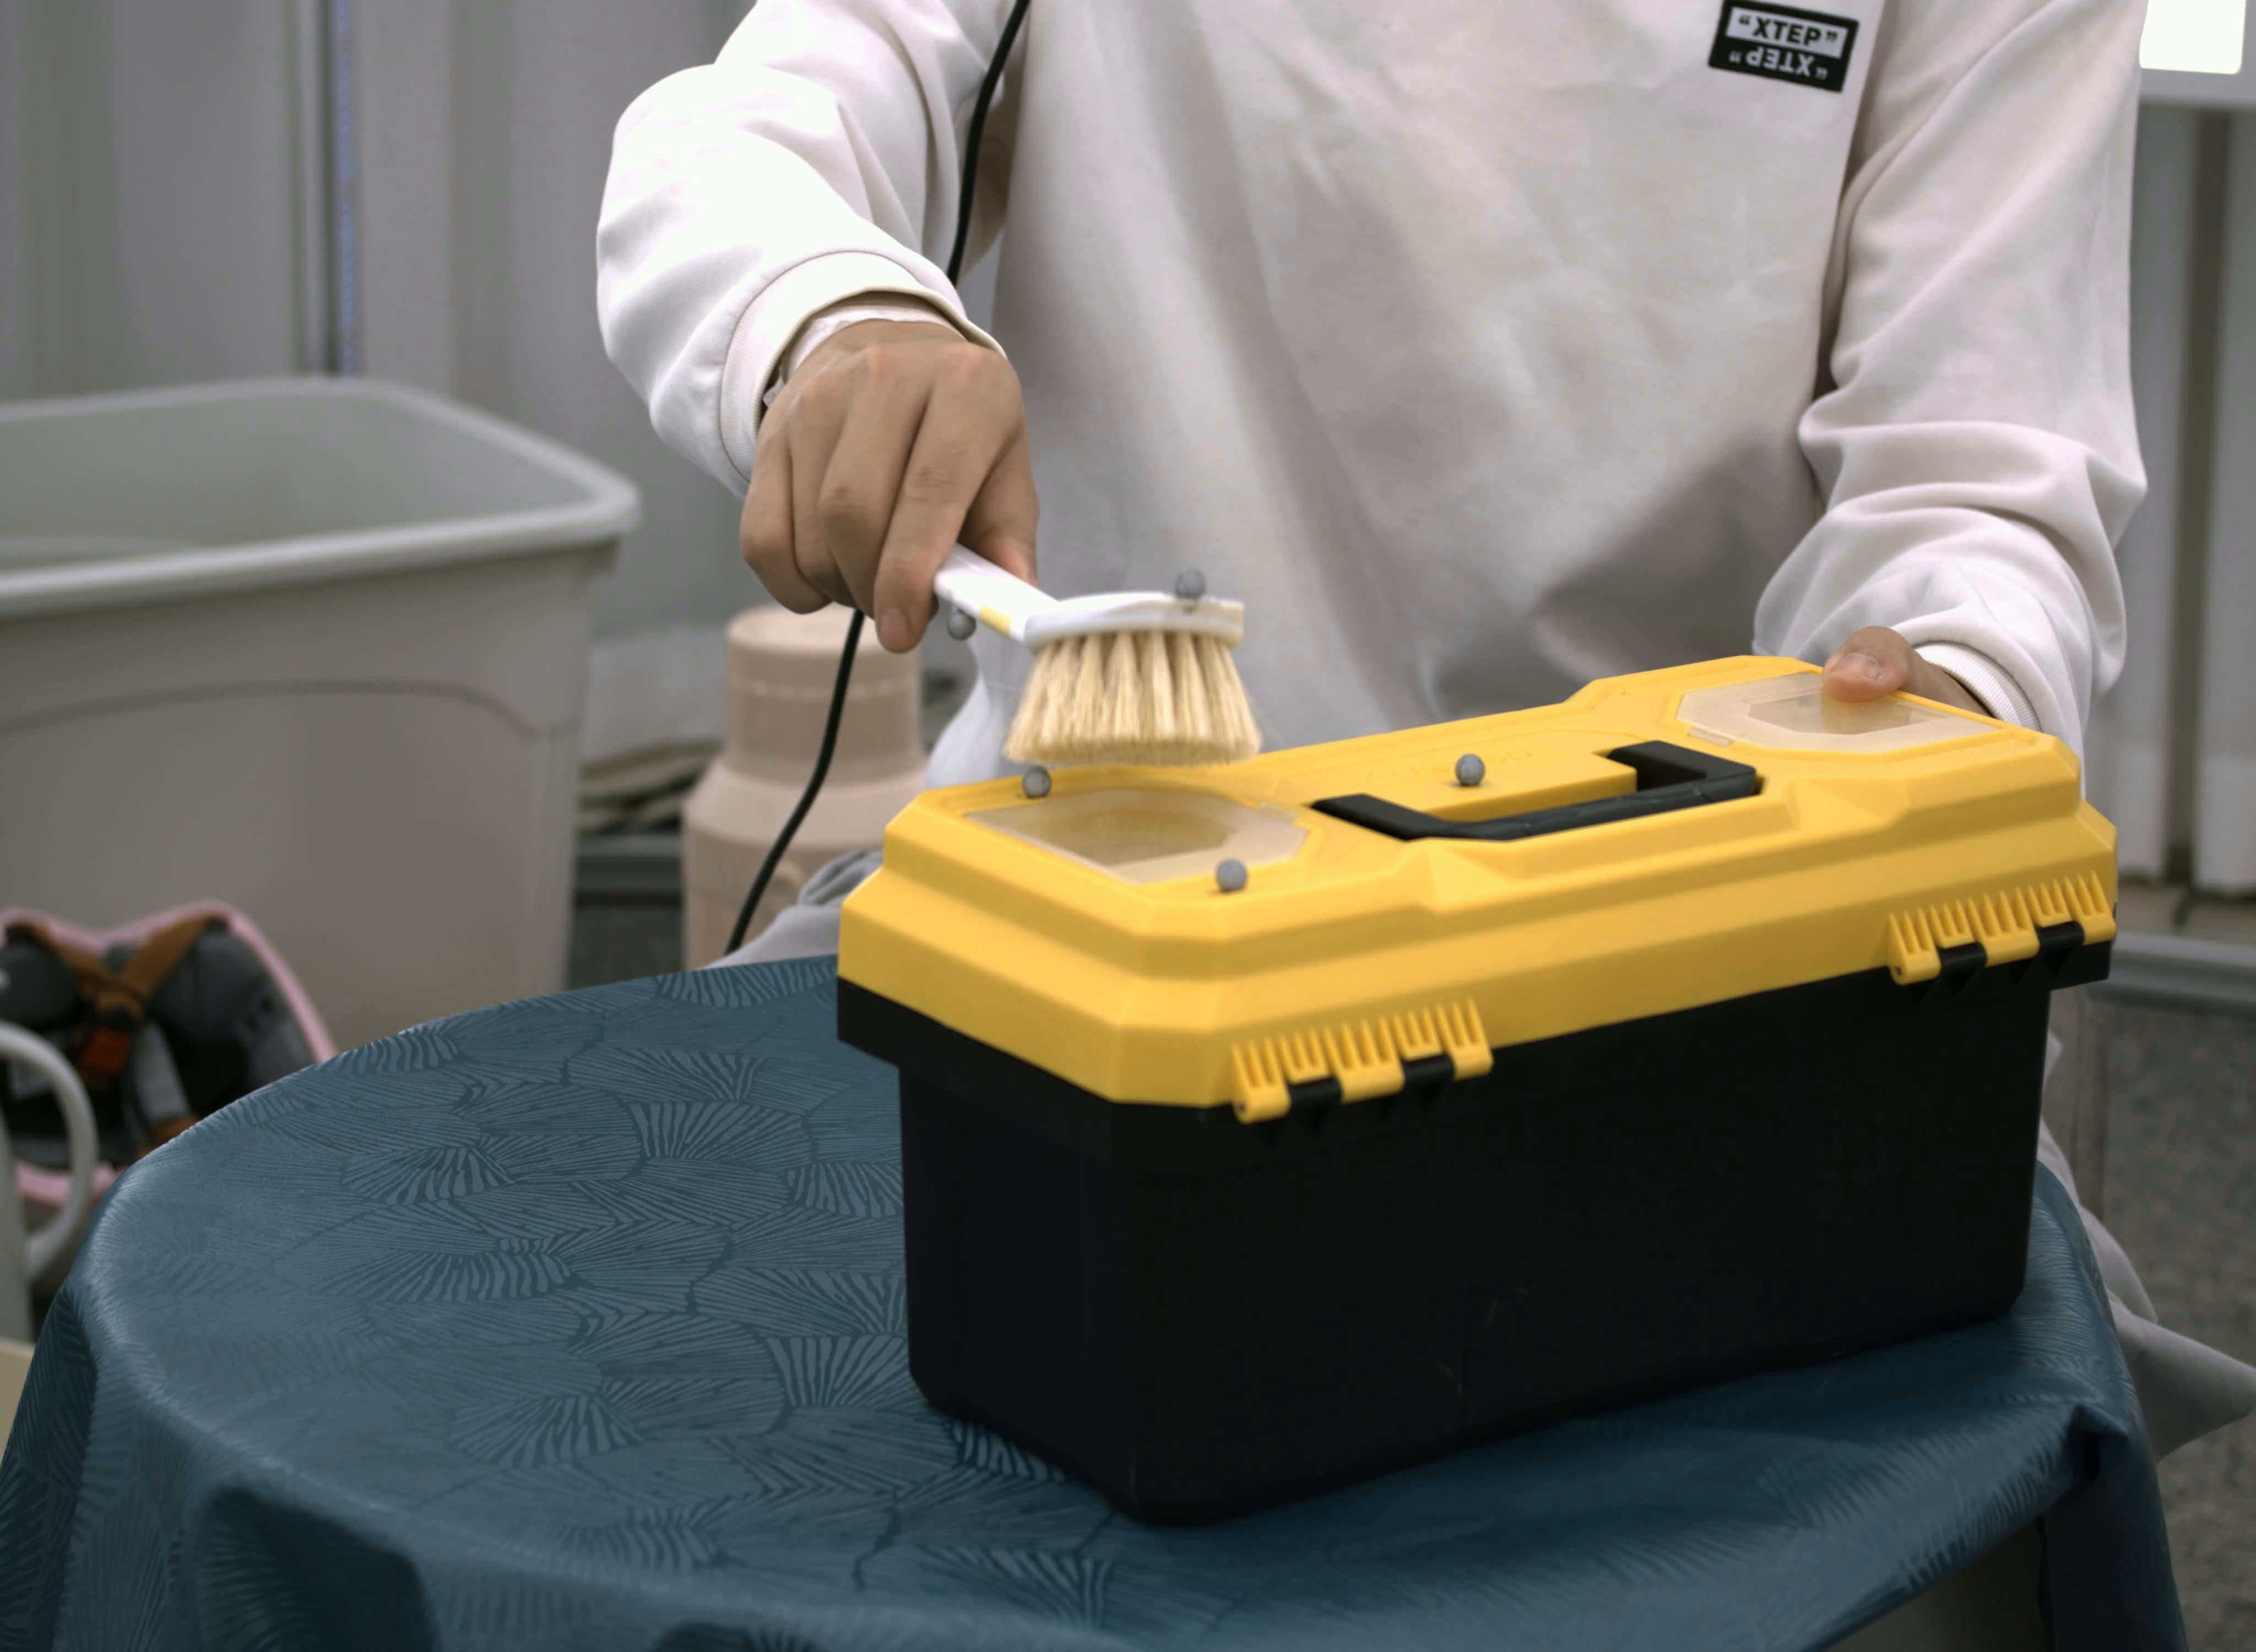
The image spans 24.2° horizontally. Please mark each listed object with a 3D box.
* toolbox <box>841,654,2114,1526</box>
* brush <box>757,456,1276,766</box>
[{"bbox_3d":[0.101,0.066,1.477,0.353,0.174,0.179,-10,19,-34],"label":"toolbox"},{"bbox_3d":[-0.041,-0.061,1.496,0.069,0.056,0.263,10,6,-33],"label":"brush"}]
